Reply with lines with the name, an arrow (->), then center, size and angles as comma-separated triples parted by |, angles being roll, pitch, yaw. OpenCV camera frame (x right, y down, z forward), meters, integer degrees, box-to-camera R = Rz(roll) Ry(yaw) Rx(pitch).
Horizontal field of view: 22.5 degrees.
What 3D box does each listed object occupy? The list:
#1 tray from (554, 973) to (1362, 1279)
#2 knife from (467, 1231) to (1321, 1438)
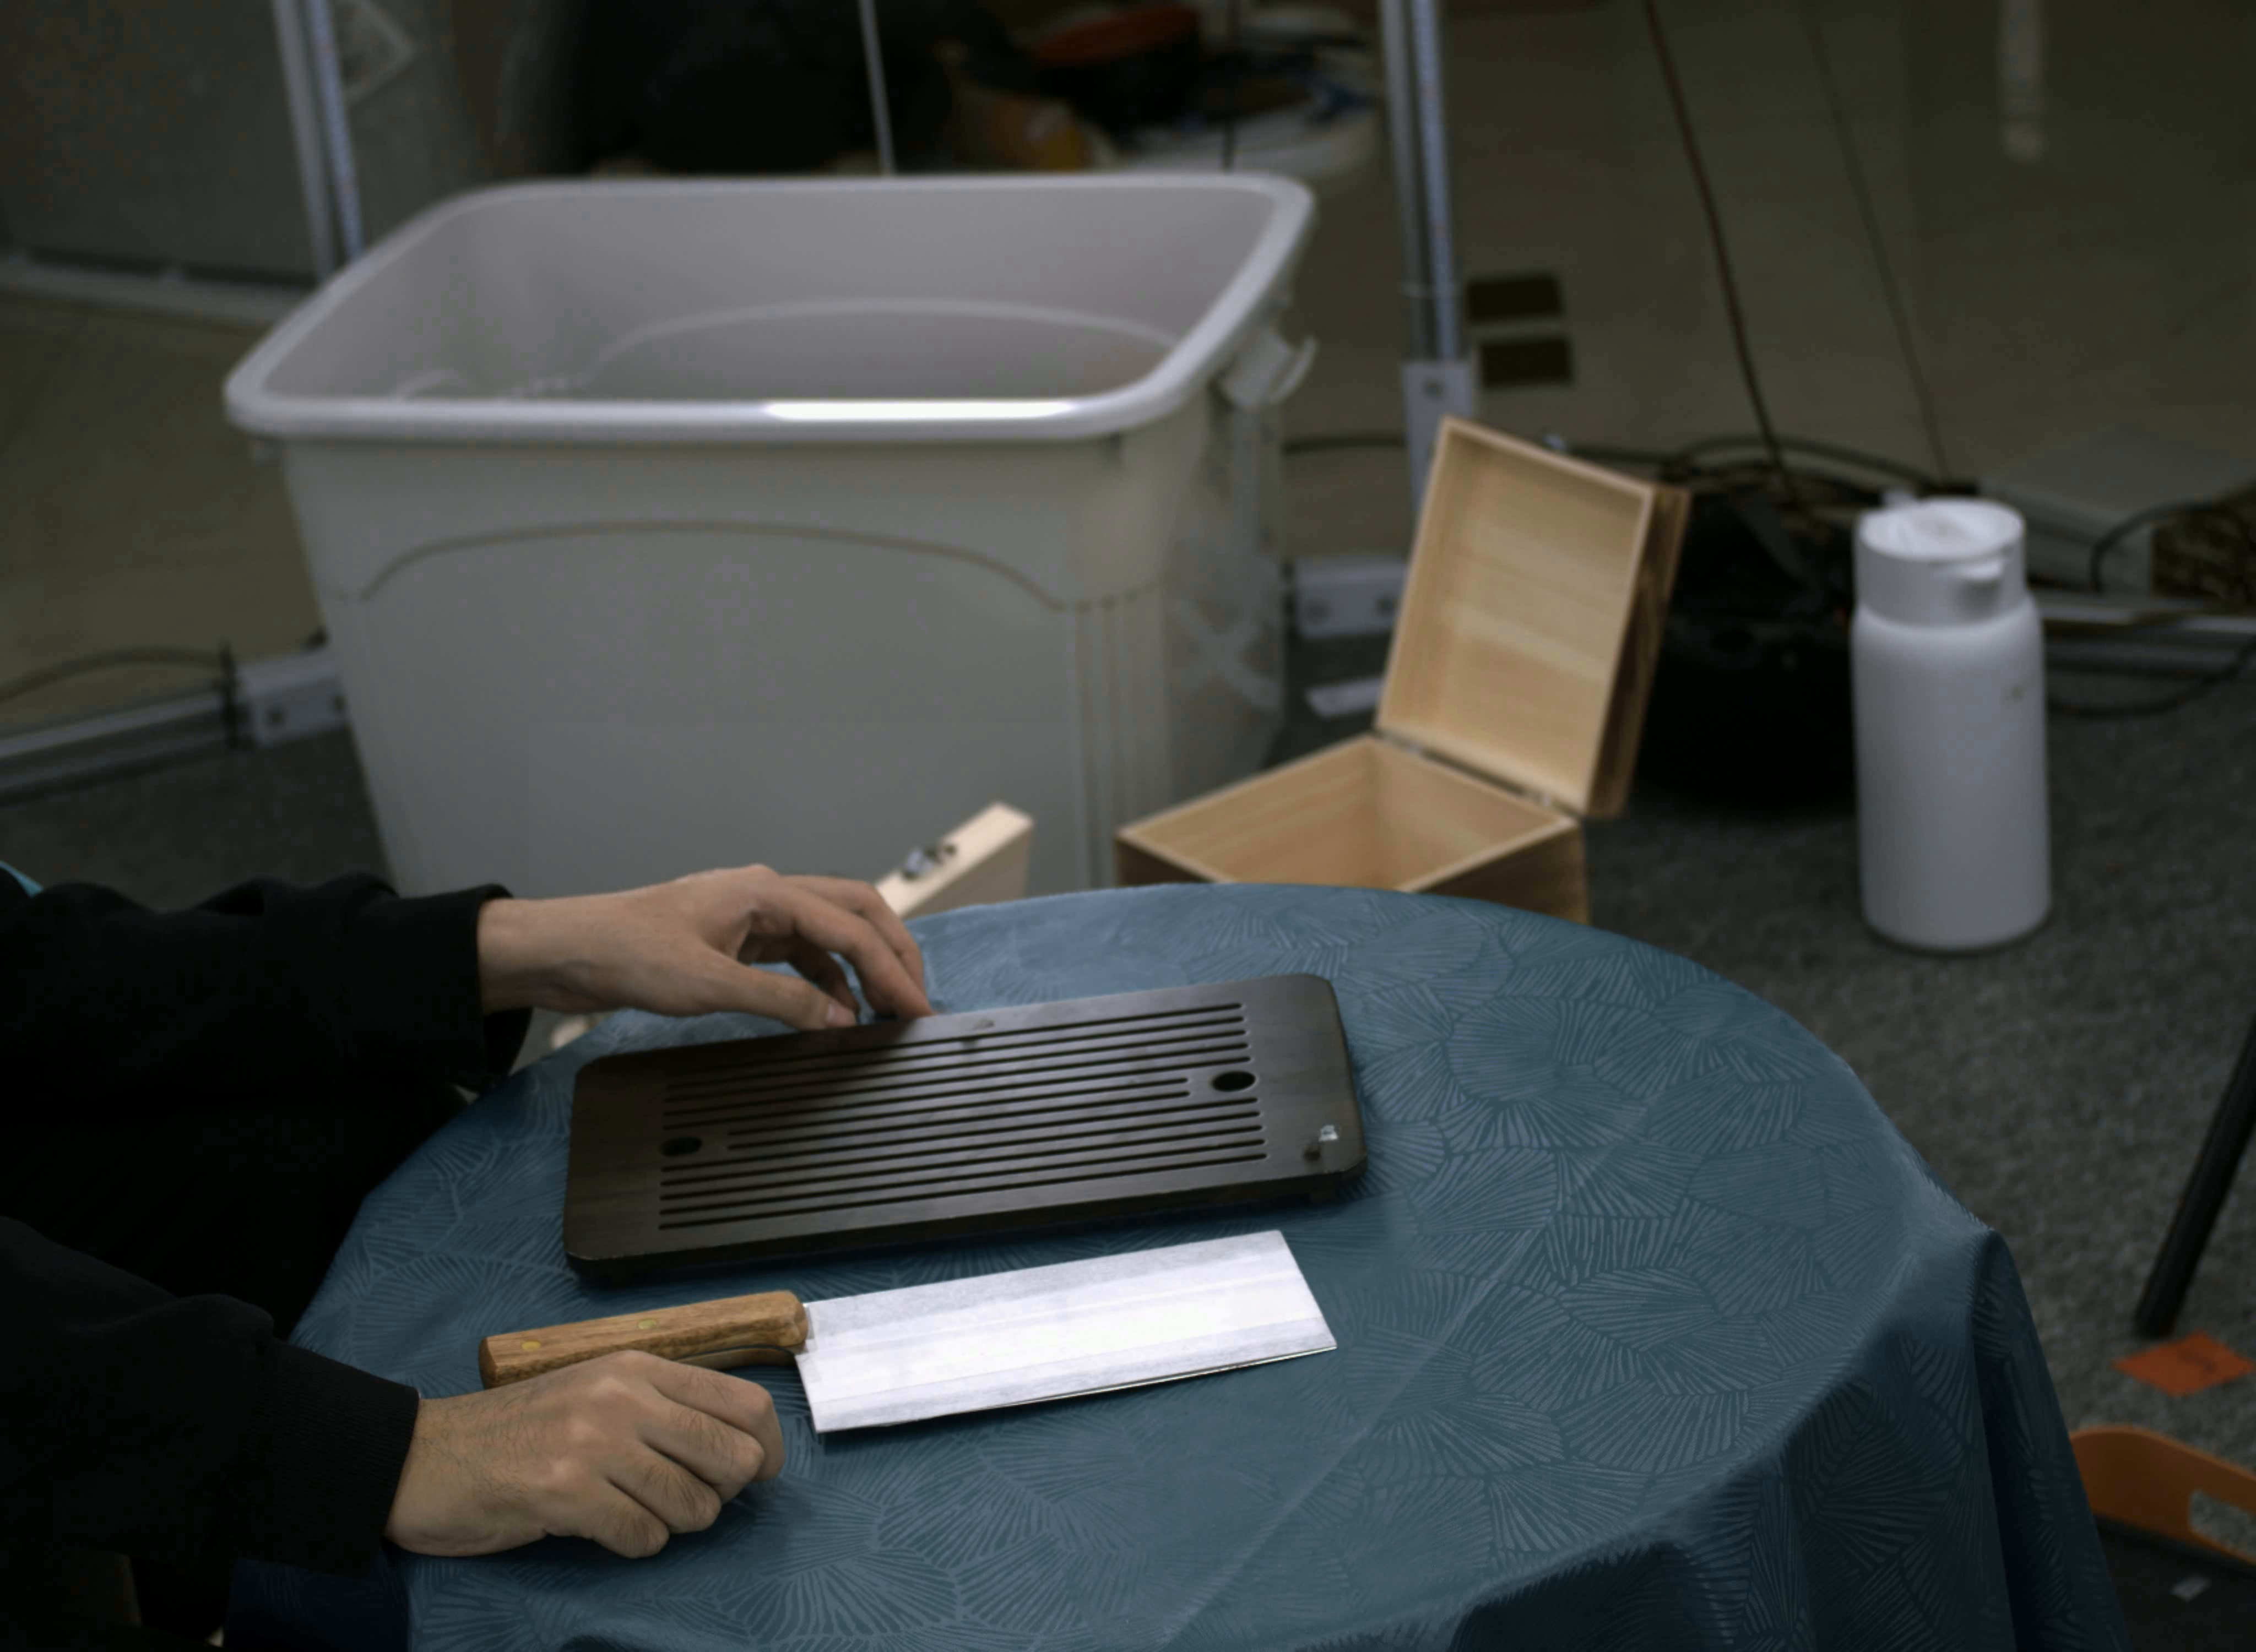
tray -> -0.067, 0.116, 2.191 | 0.305, 0.019, 0.167 | -6, 25, 0
knife -> -0.083, 0.189, 2.042 | 0.305, 0.021, 0.091 | -8, 27, -9
